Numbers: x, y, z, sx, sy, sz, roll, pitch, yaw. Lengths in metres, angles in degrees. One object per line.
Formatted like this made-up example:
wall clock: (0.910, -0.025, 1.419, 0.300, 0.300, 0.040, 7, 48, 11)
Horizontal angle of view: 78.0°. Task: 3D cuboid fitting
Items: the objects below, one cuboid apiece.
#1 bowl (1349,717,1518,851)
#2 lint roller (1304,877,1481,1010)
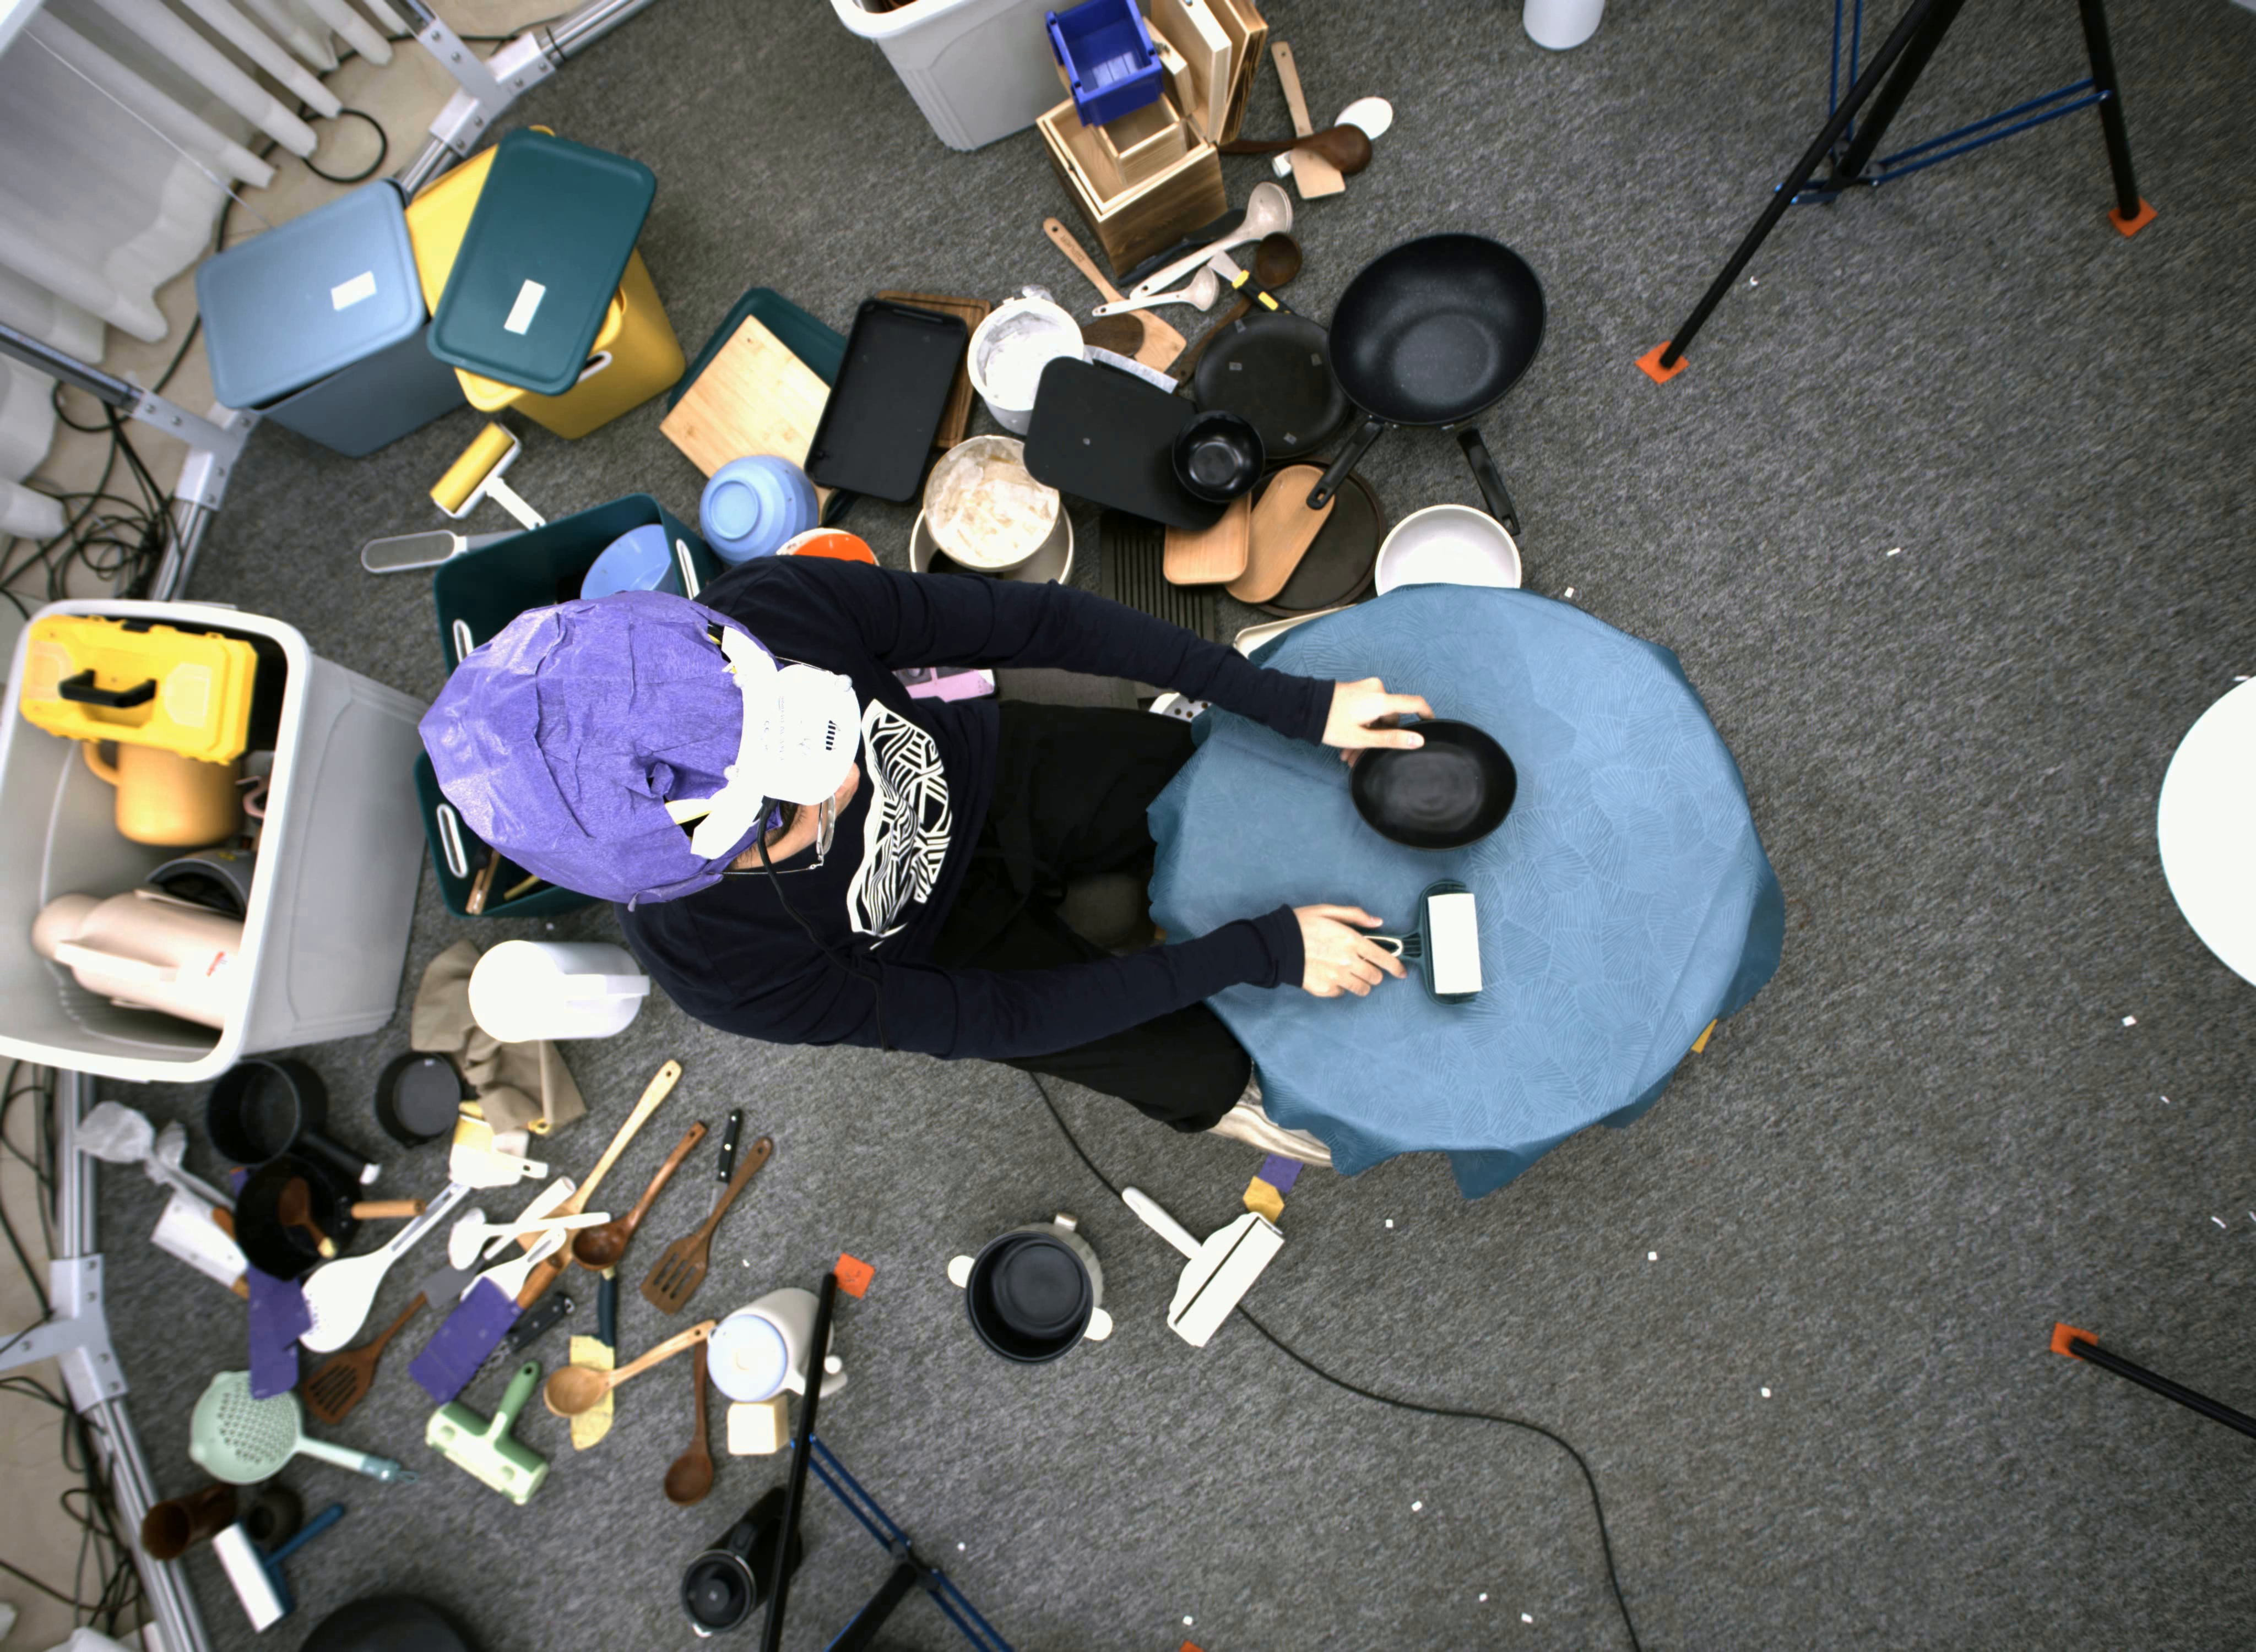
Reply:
bowl: (0.315, -0.041, 1.425, 0.171, 0.067, 0.137, 0, 86, 12)
lint roller: (0.271, 0.125, 1.433, 0.181, 0.048, 0.133, -4, 86, 11)
